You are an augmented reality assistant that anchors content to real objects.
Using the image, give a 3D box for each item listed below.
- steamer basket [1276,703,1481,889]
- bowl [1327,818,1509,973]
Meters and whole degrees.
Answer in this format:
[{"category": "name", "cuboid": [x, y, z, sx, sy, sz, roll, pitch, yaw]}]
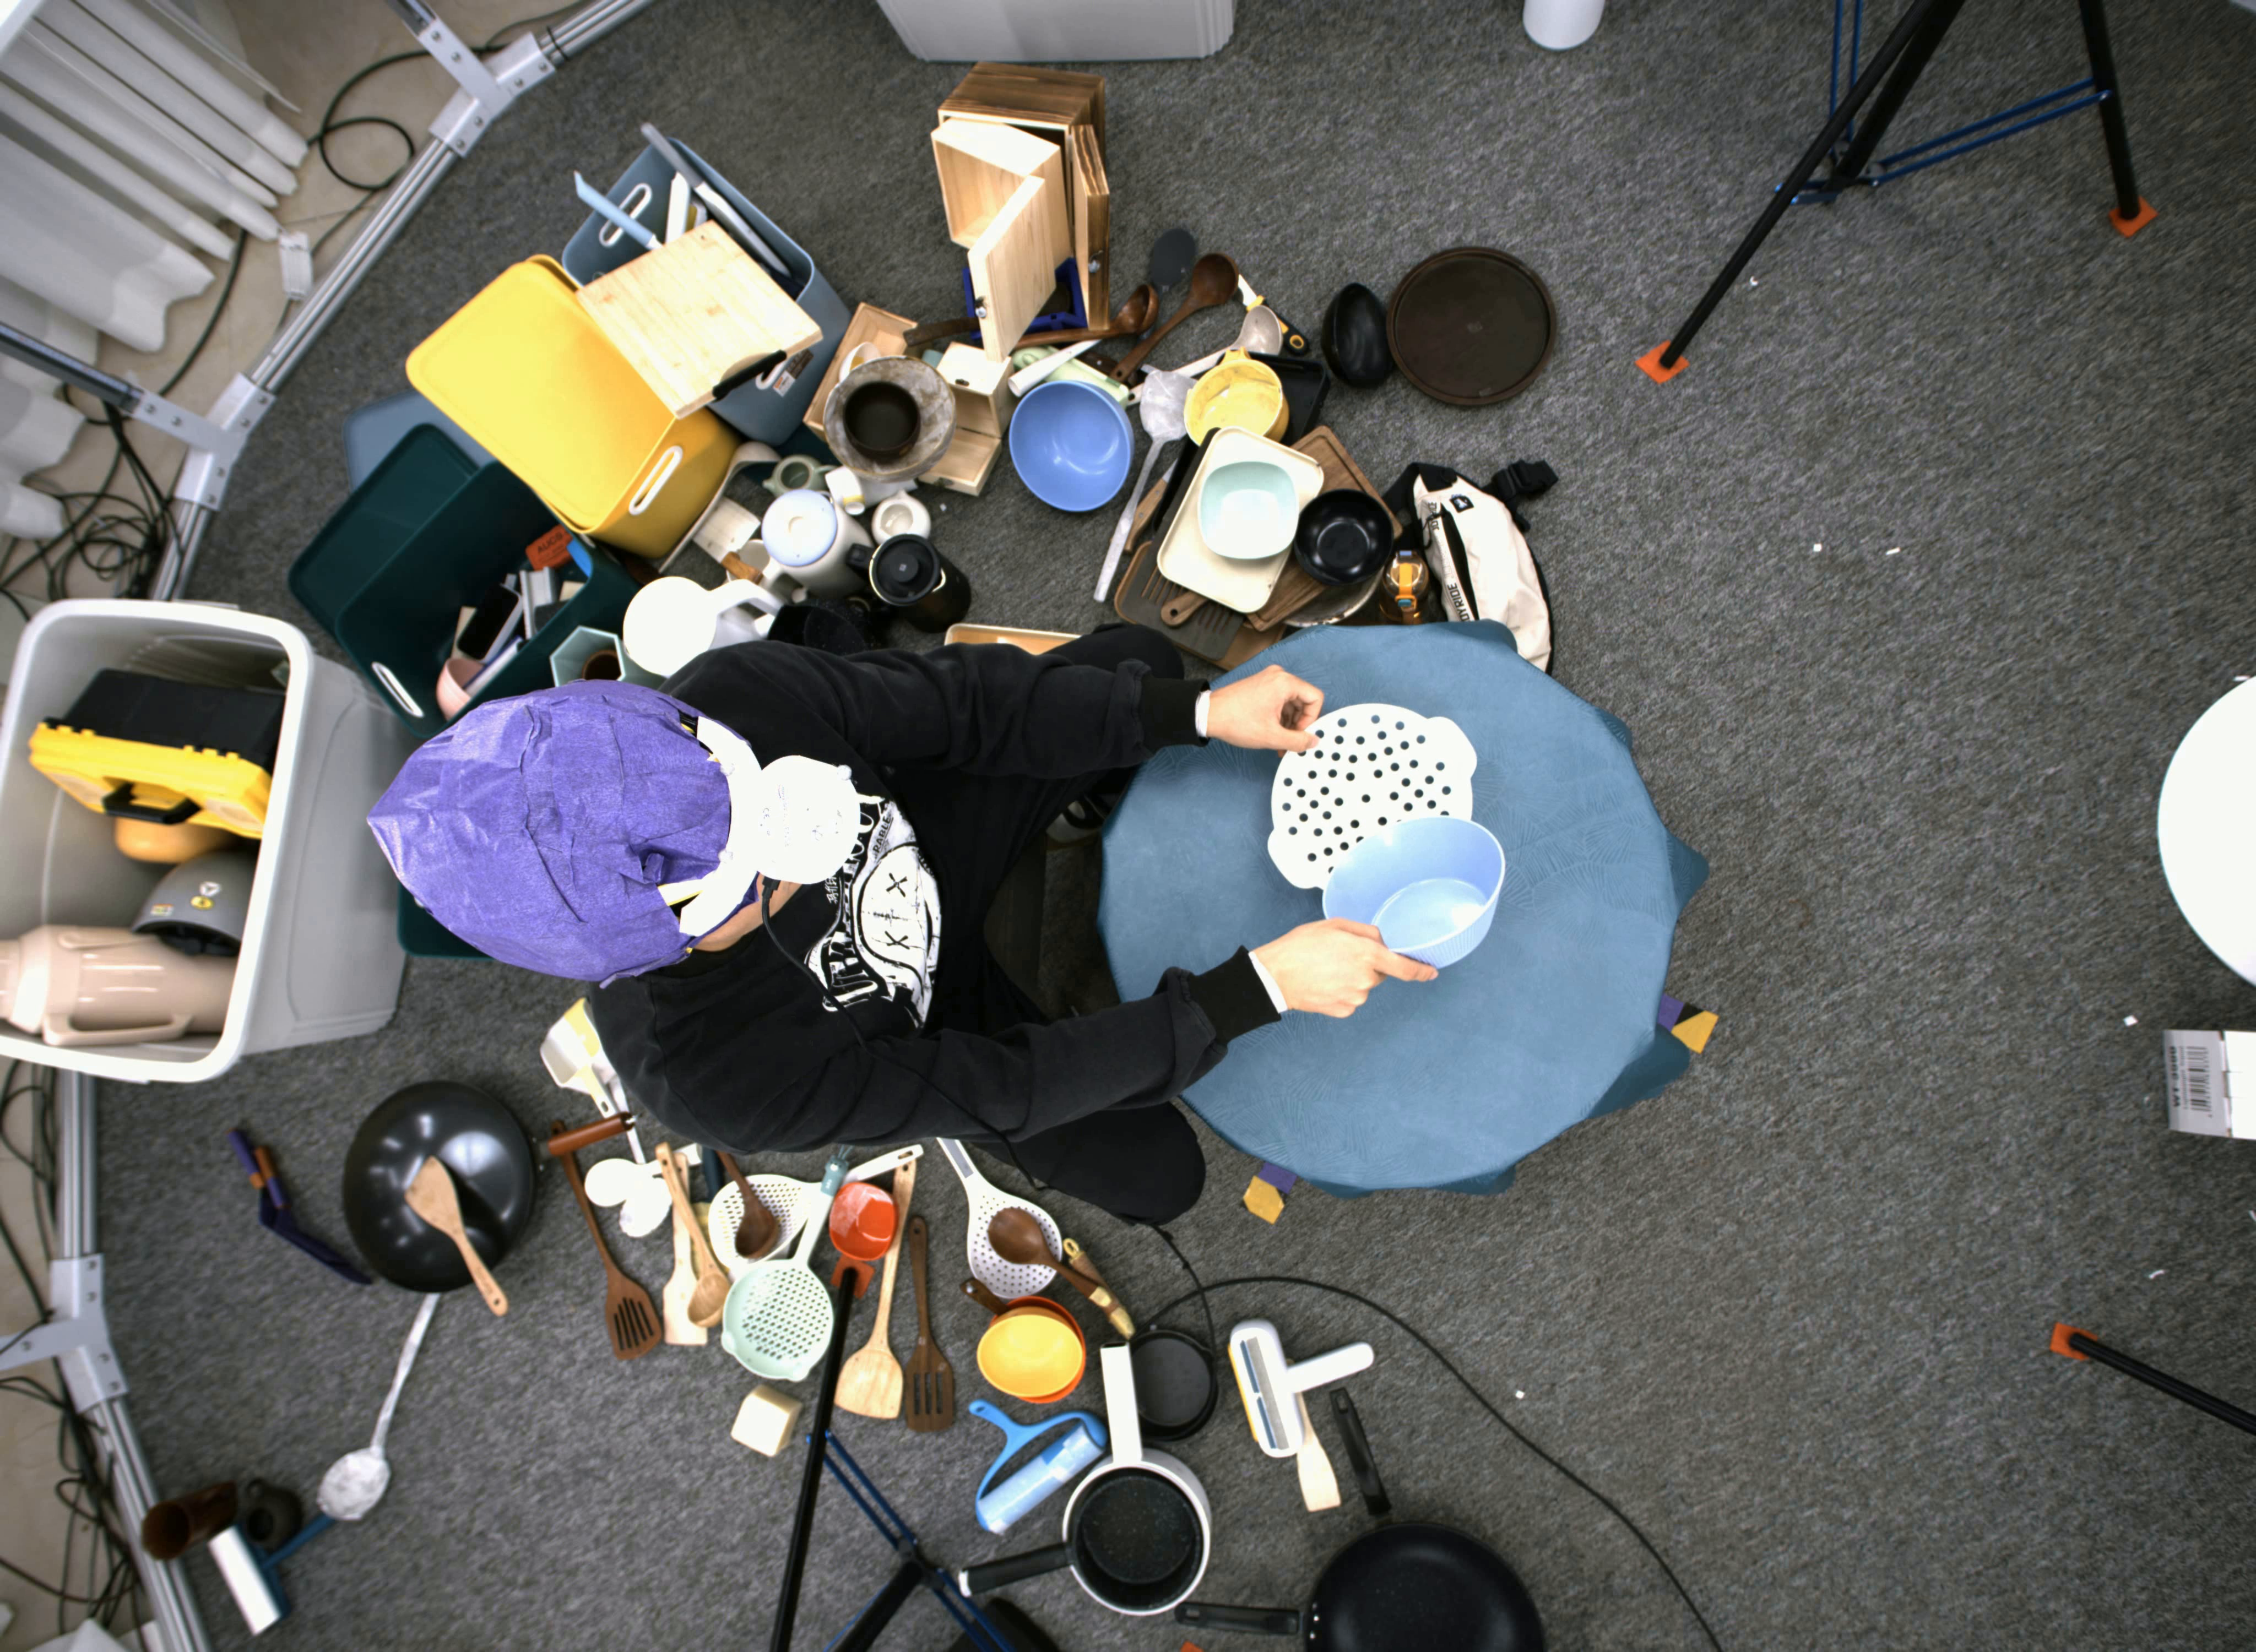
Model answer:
[{"category": "steamer basket", "cuboid": [0.255, -0.027, 1.424, 0.232, 0.069, 0.202, -37, 93, 7]}, {"category": "bowl", "cuboid": [0.283, 0.074, 1.313, 0.177, 0.171, 0.071, -20, 126, 15]}]
